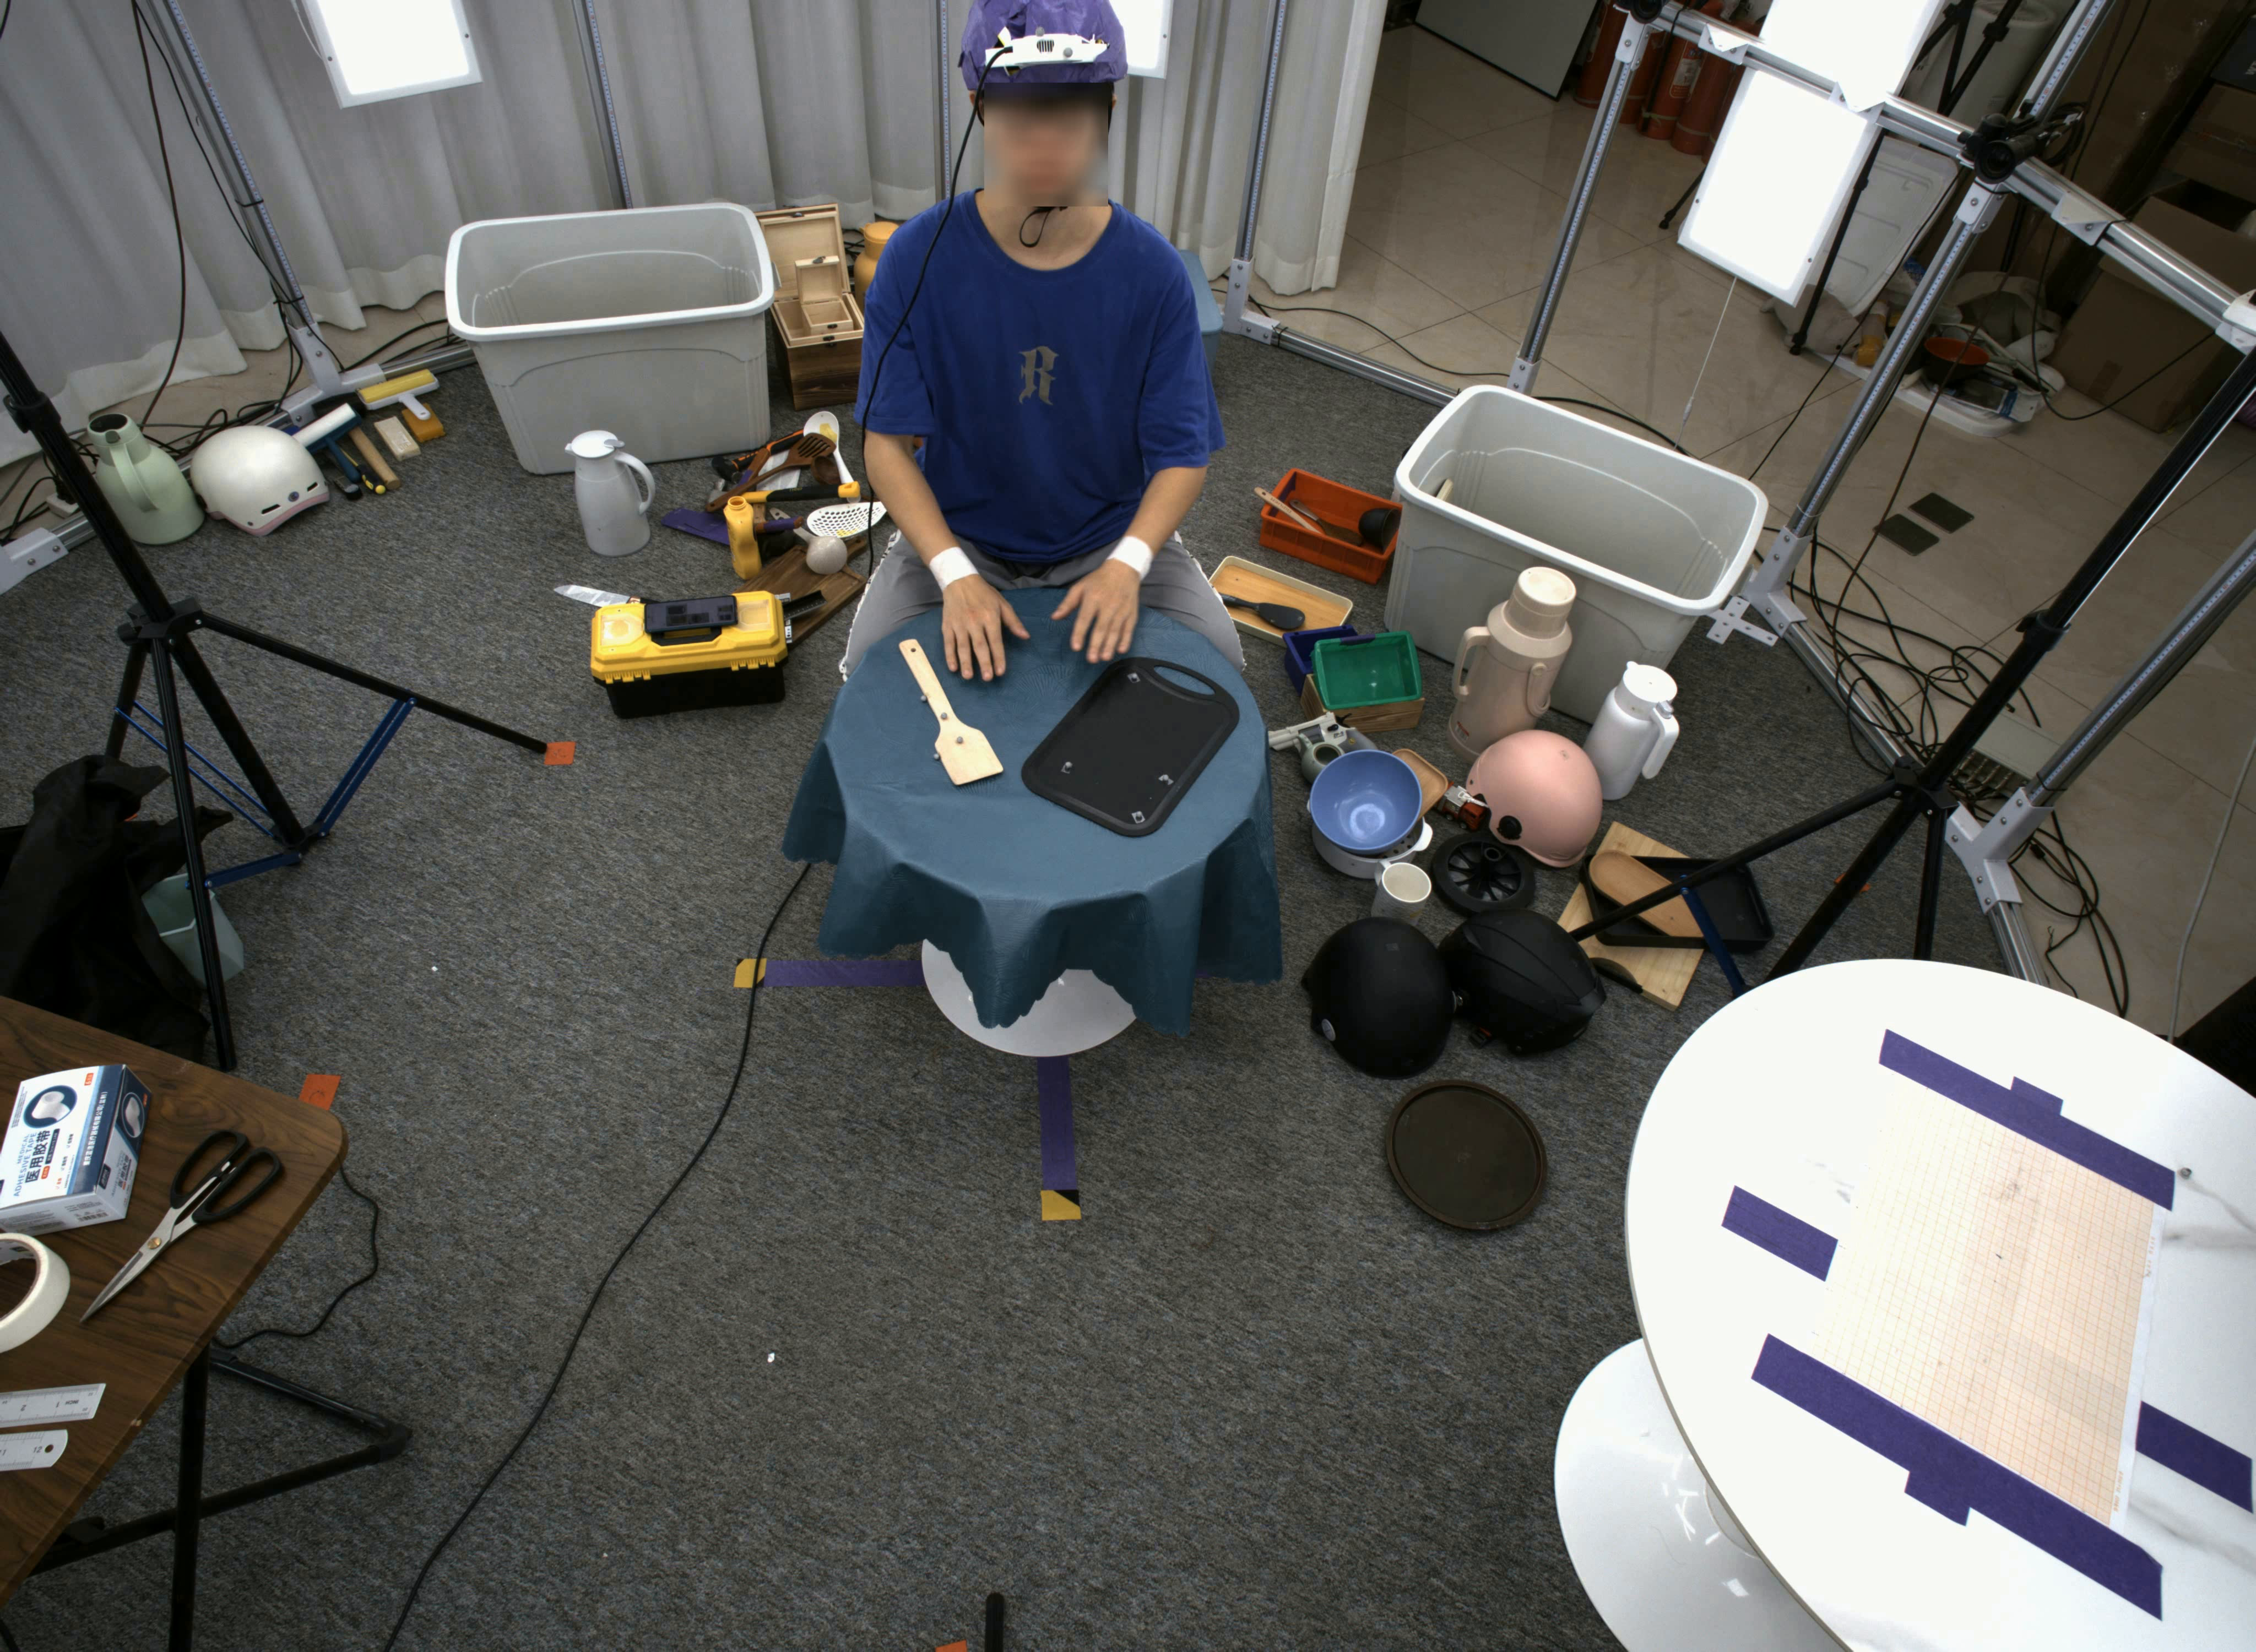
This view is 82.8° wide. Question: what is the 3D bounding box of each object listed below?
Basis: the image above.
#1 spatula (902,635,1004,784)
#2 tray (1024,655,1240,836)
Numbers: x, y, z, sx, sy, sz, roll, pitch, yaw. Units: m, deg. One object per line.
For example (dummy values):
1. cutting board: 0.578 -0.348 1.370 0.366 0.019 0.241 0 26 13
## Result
1. spatula: -0.258 -0.169 1.797 0.072 0.010 0.299 -19 54 -17
2. tray: 0.013 -0.125 1.778 0.213 0.009 0.330 26 53 18
